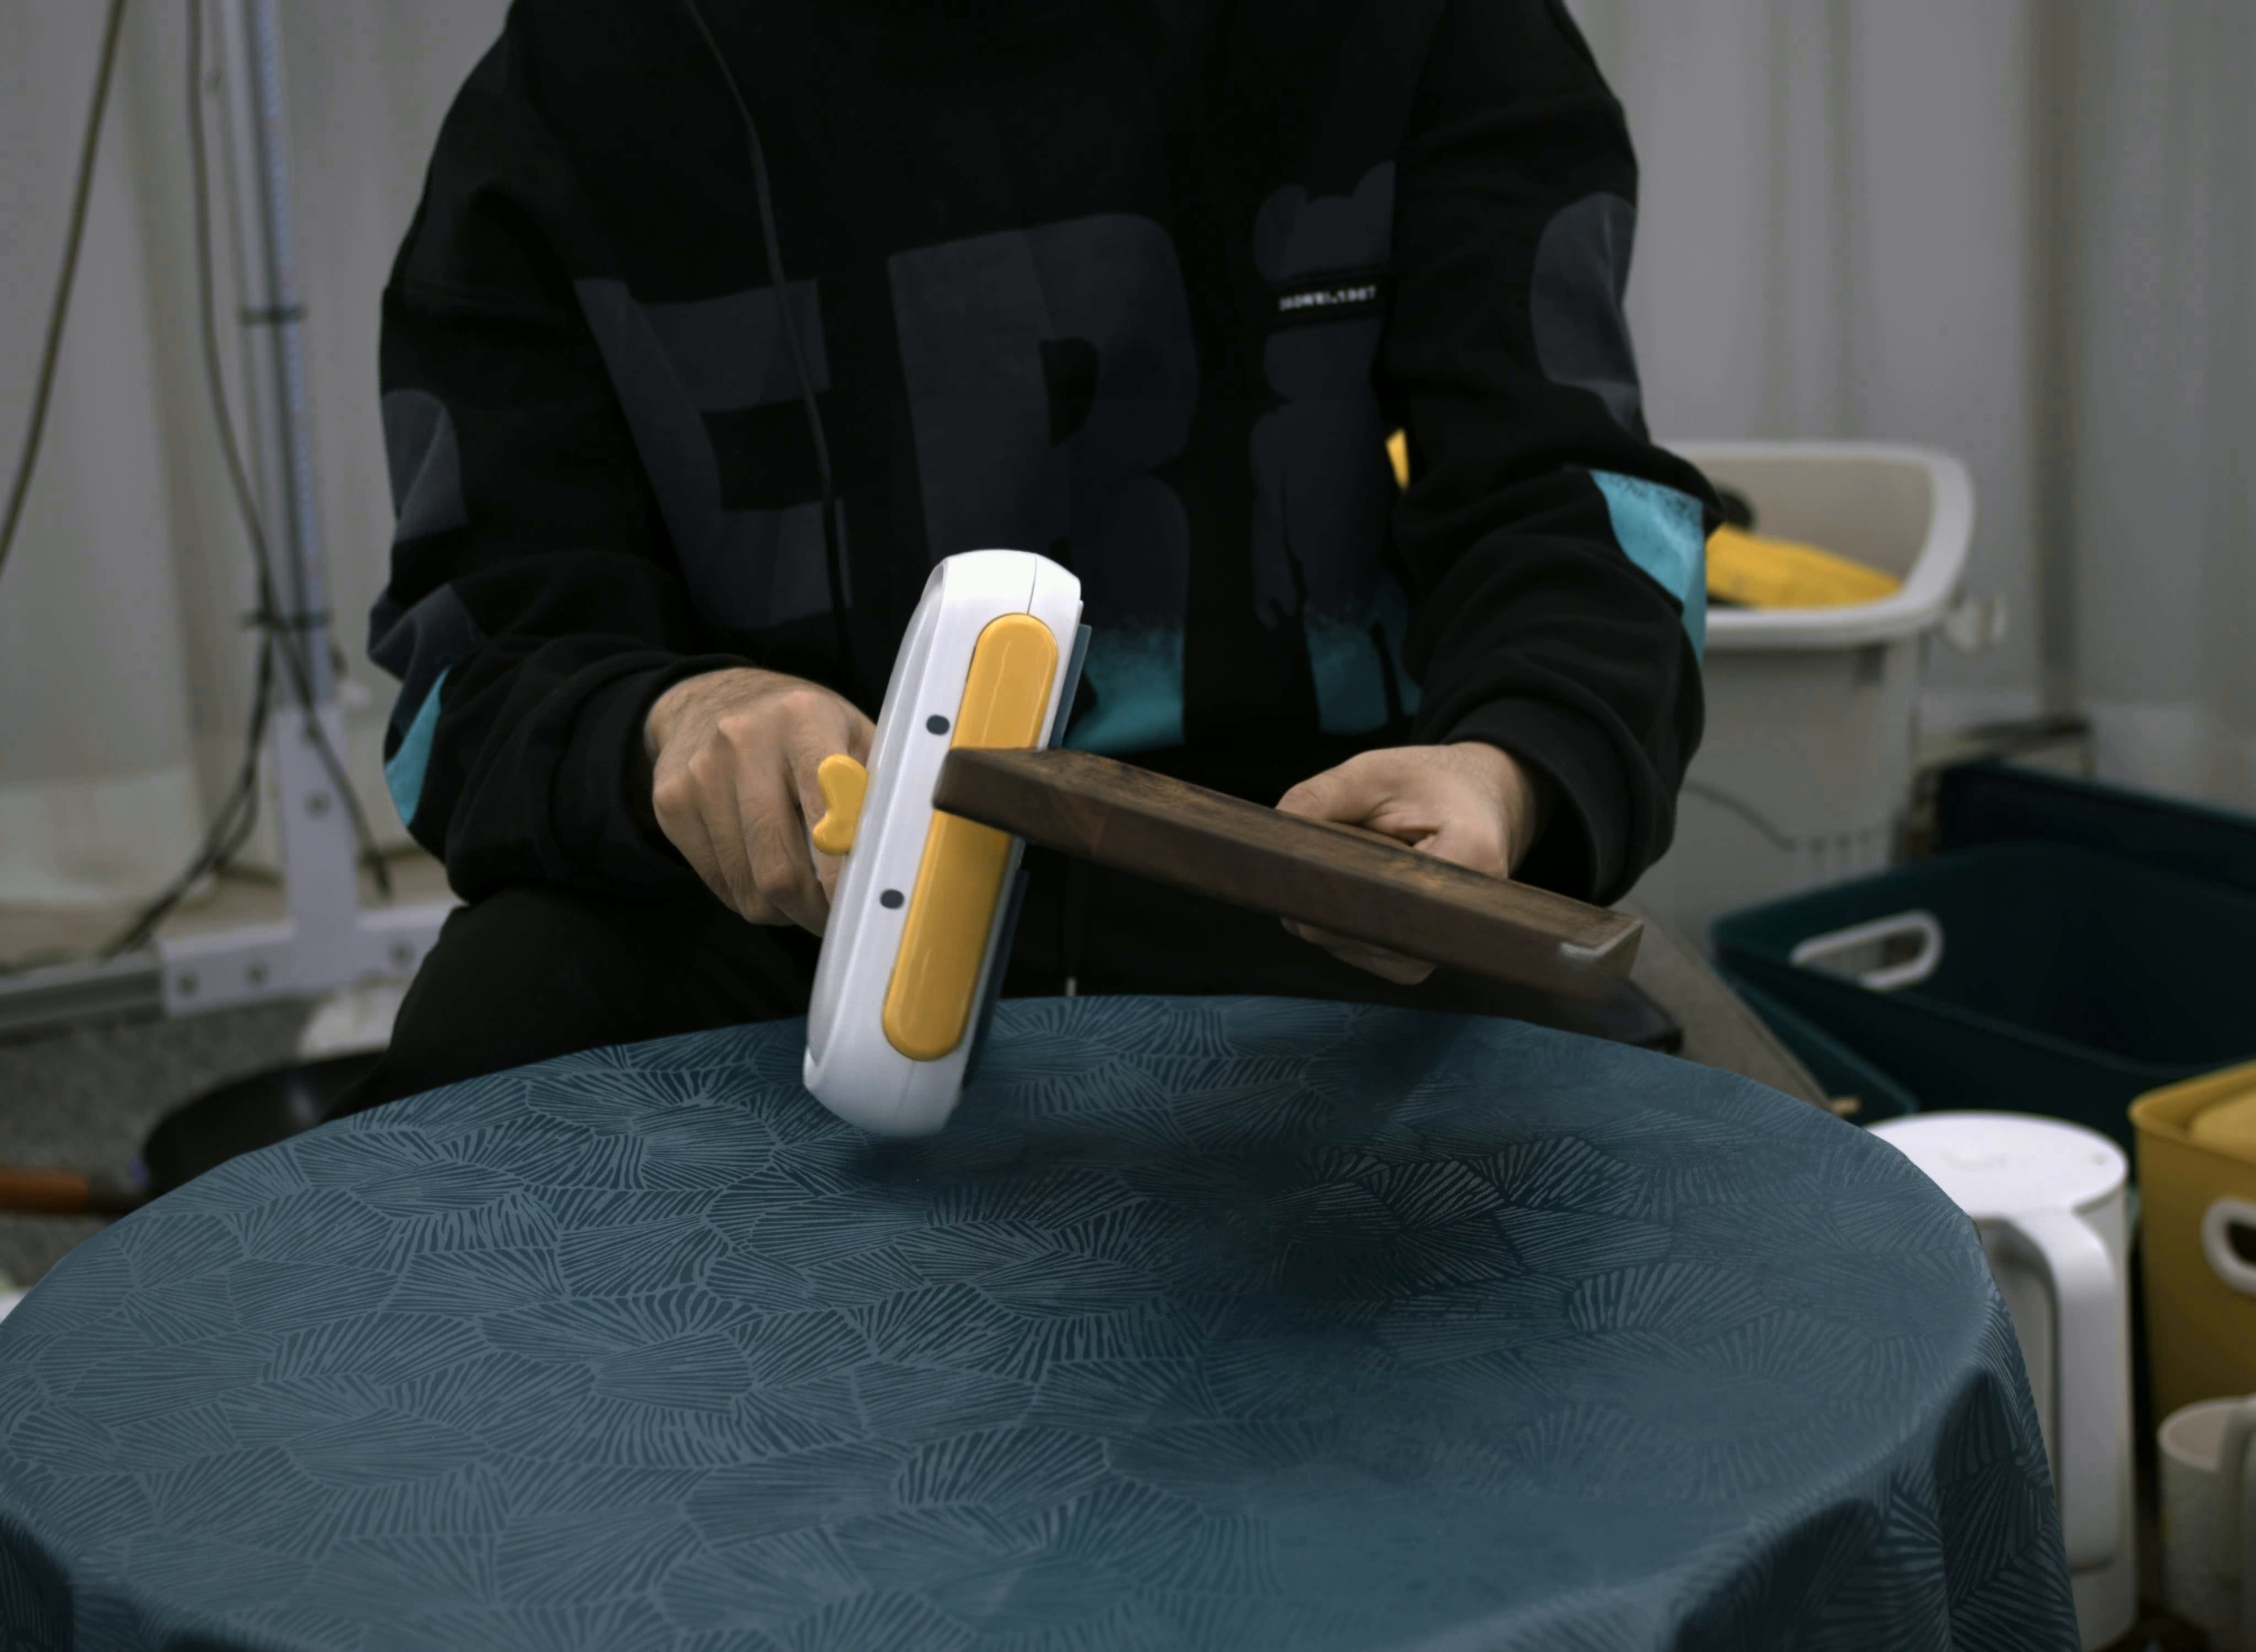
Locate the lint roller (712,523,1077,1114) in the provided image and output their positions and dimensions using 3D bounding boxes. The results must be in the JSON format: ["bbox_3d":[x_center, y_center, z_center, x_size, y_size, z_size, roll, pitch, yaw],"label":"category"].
[{"bbox_3d":[-0.085,0.001,1.807,0.073,0.194,0.192,12,-10,-18],"label":"lint roller"}]

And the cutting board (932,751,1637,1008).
[{"bbox_3d":[0.059,0.013,1.686,0.201,0.023,0.351,16,2,7],"label":"cutting board"}]
